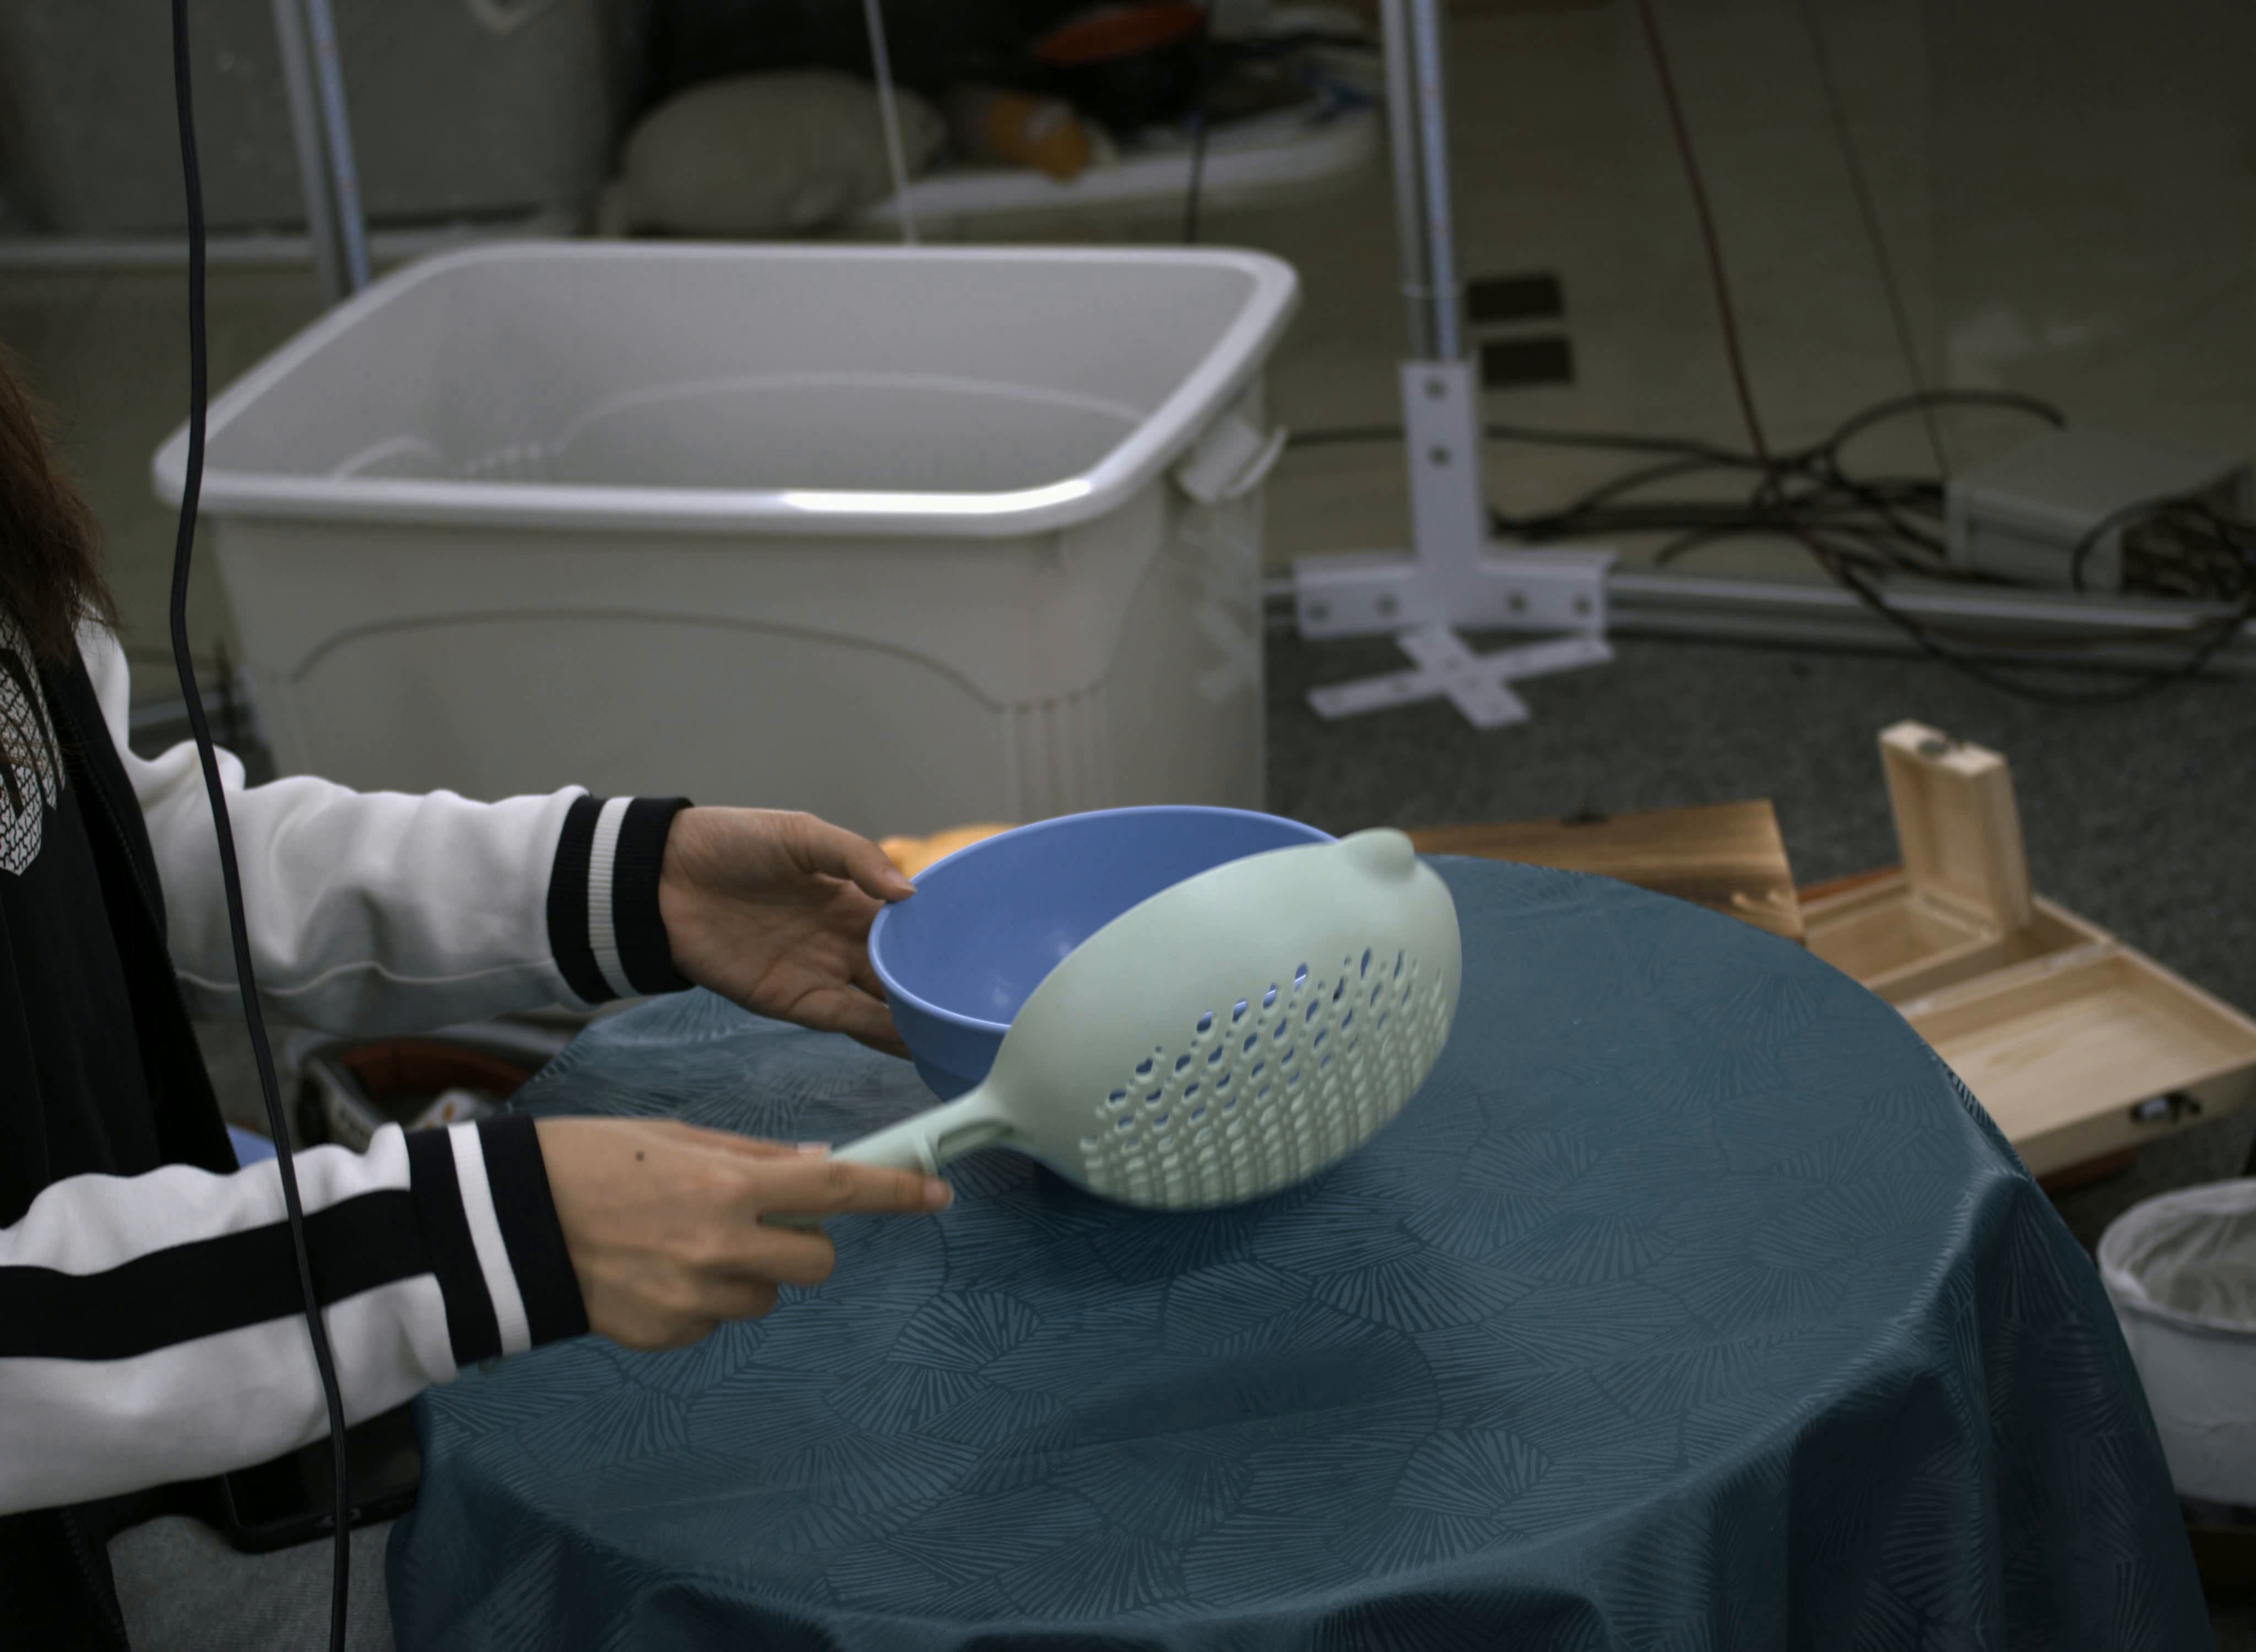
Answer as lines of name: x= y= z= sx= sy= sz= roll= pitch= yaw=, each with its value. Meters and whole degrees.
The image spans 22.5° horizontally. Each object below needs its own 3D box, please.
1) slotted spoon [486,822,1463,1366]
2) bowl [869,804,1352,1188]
slotted spoon: x=-0.051 y=0.102 z=1.922 sx=0.358 sy=0.172 sz=0.074 roll=-15 pitch=59 yaw=-2
bowl: x=0.004 y=0.076 z=2.170 sx=0.196 sy=0.097 sz=0.193 roll=-5 pitch=26 yaw=3
